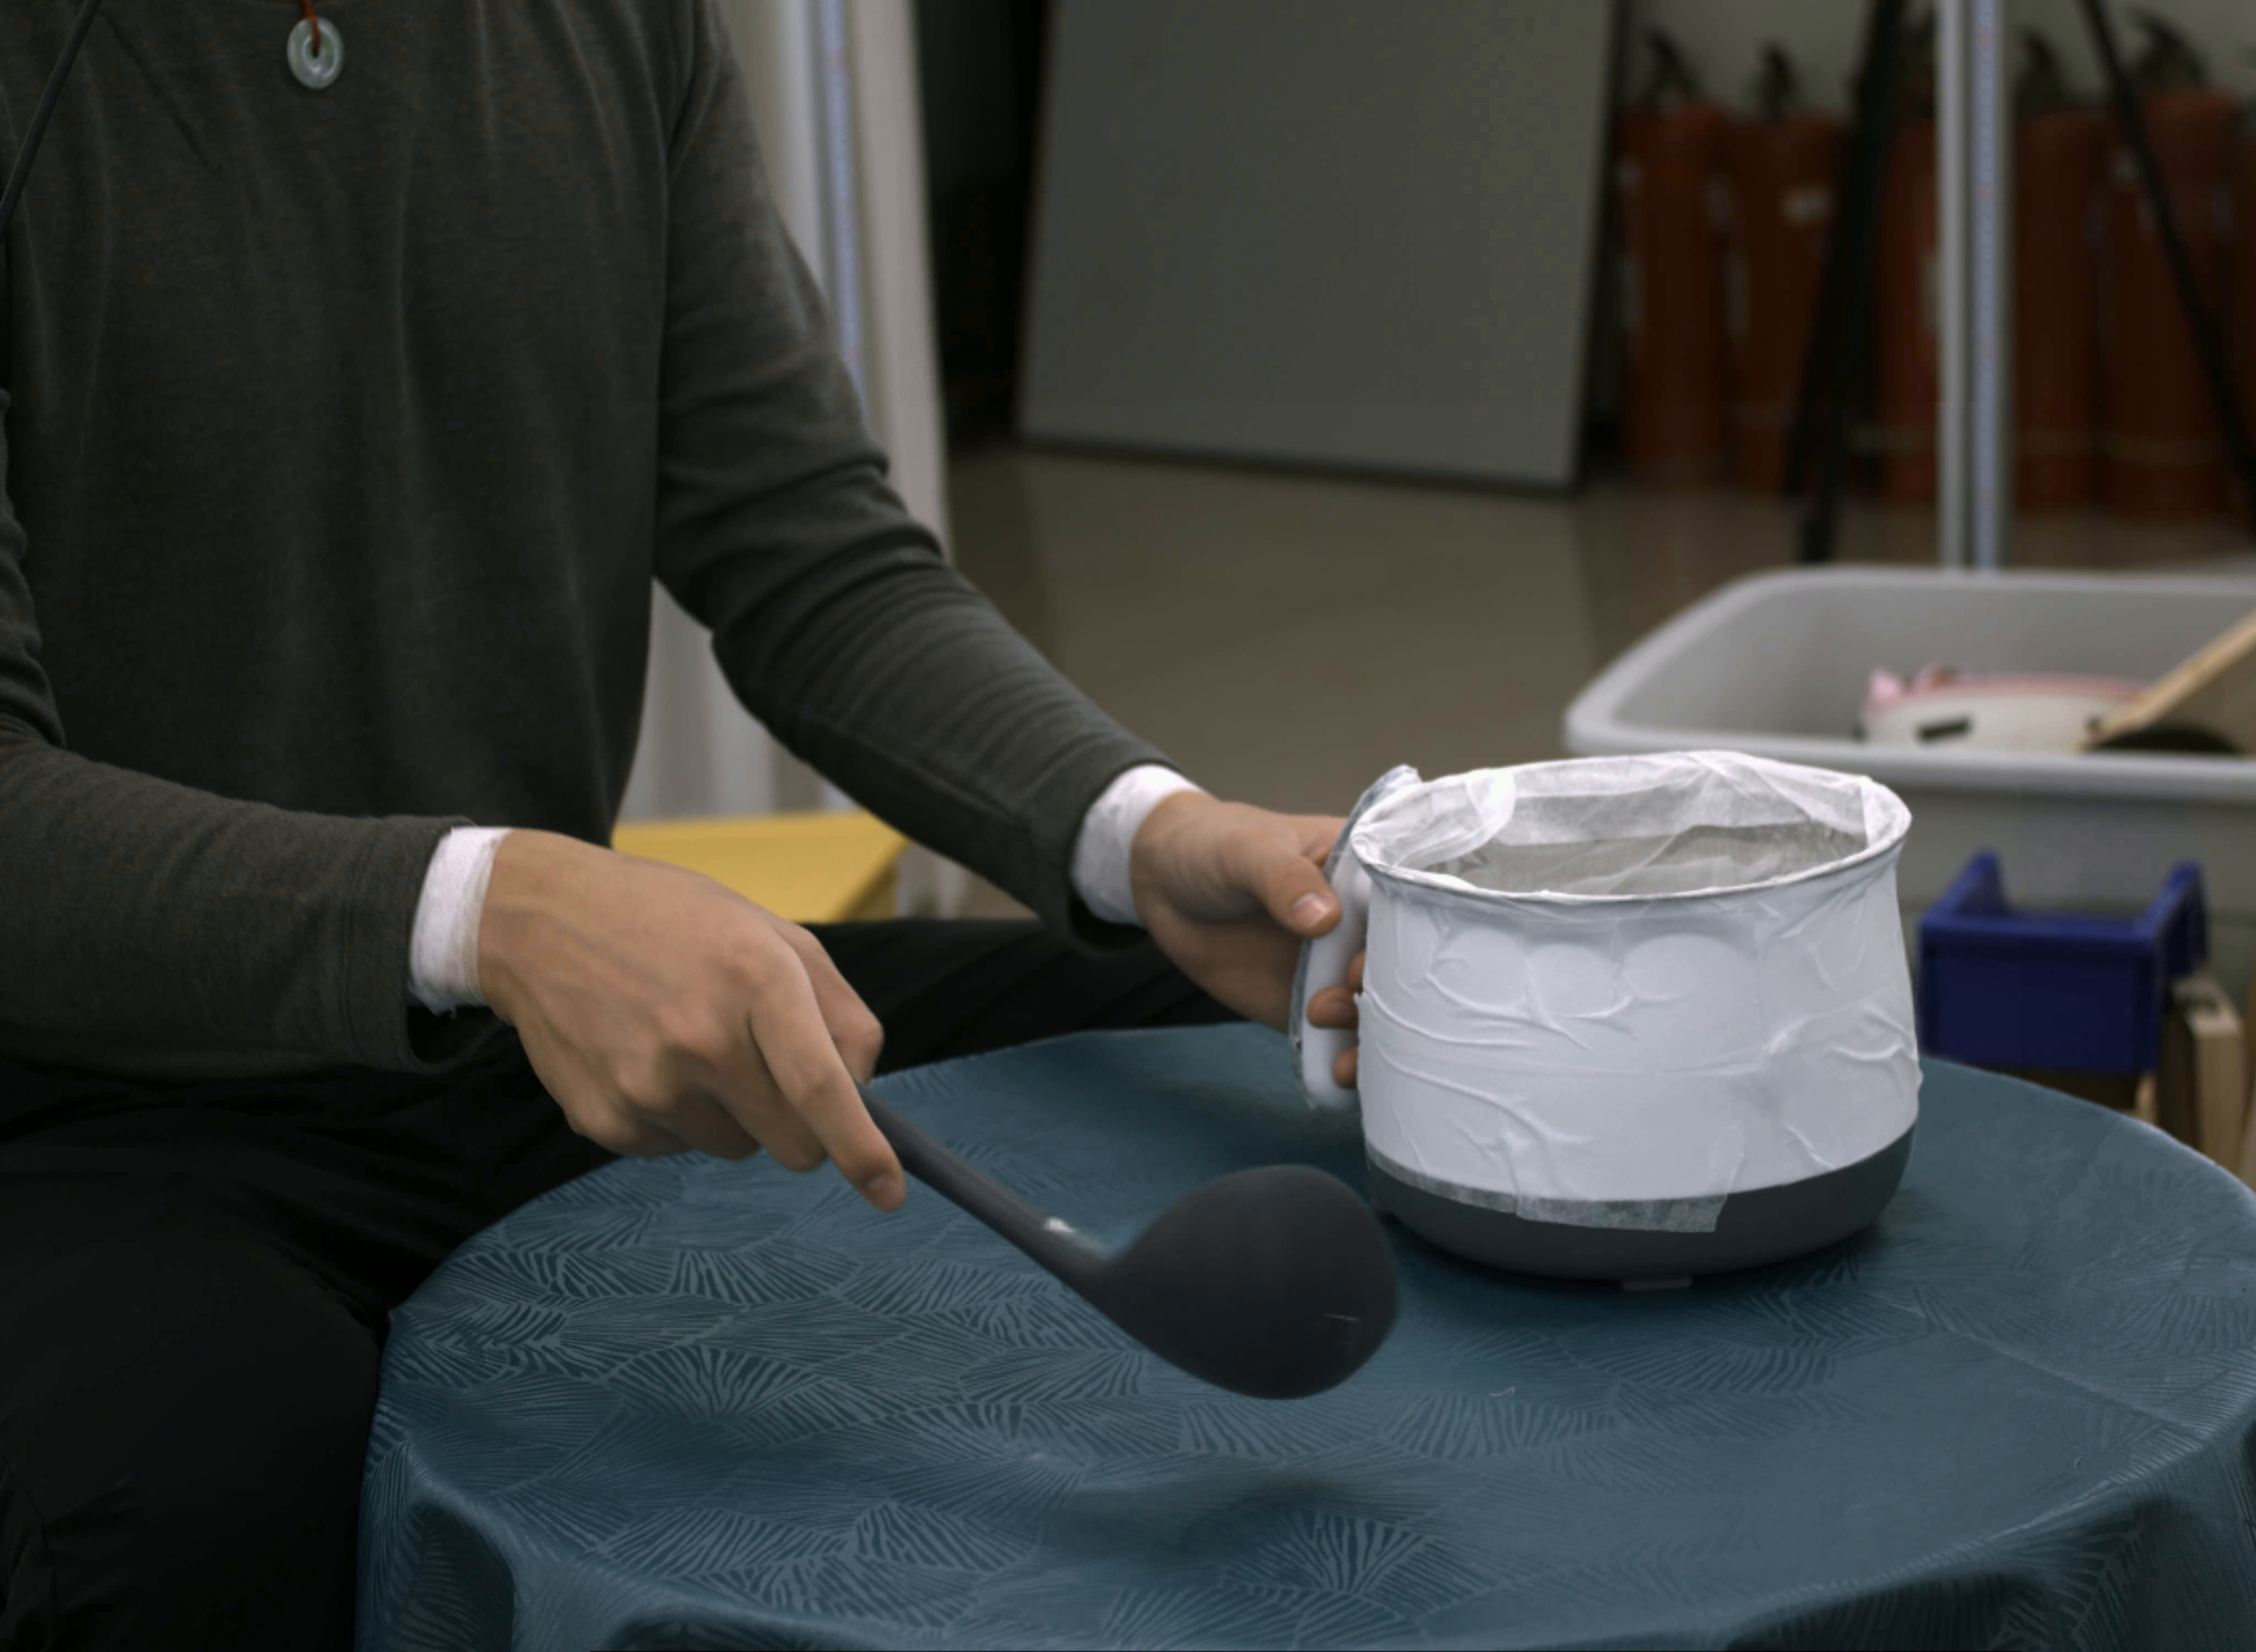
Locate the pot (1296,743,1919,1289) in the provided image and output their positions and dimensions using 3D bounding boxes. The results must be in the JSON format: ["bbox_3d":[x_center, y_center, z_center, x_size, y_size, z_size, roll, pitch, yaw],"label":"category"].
[{"bbox_3d":[0.141,0.054,1.713,0.175,0.138,0.236,-15,18,-41],"label":"pot"}]

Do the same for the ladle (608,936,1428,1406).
[{"bbox_3d":[-0.039,0.082,1.568,0.063,0.086,0.317,-36,42,-25],"label":"ladle"}]
